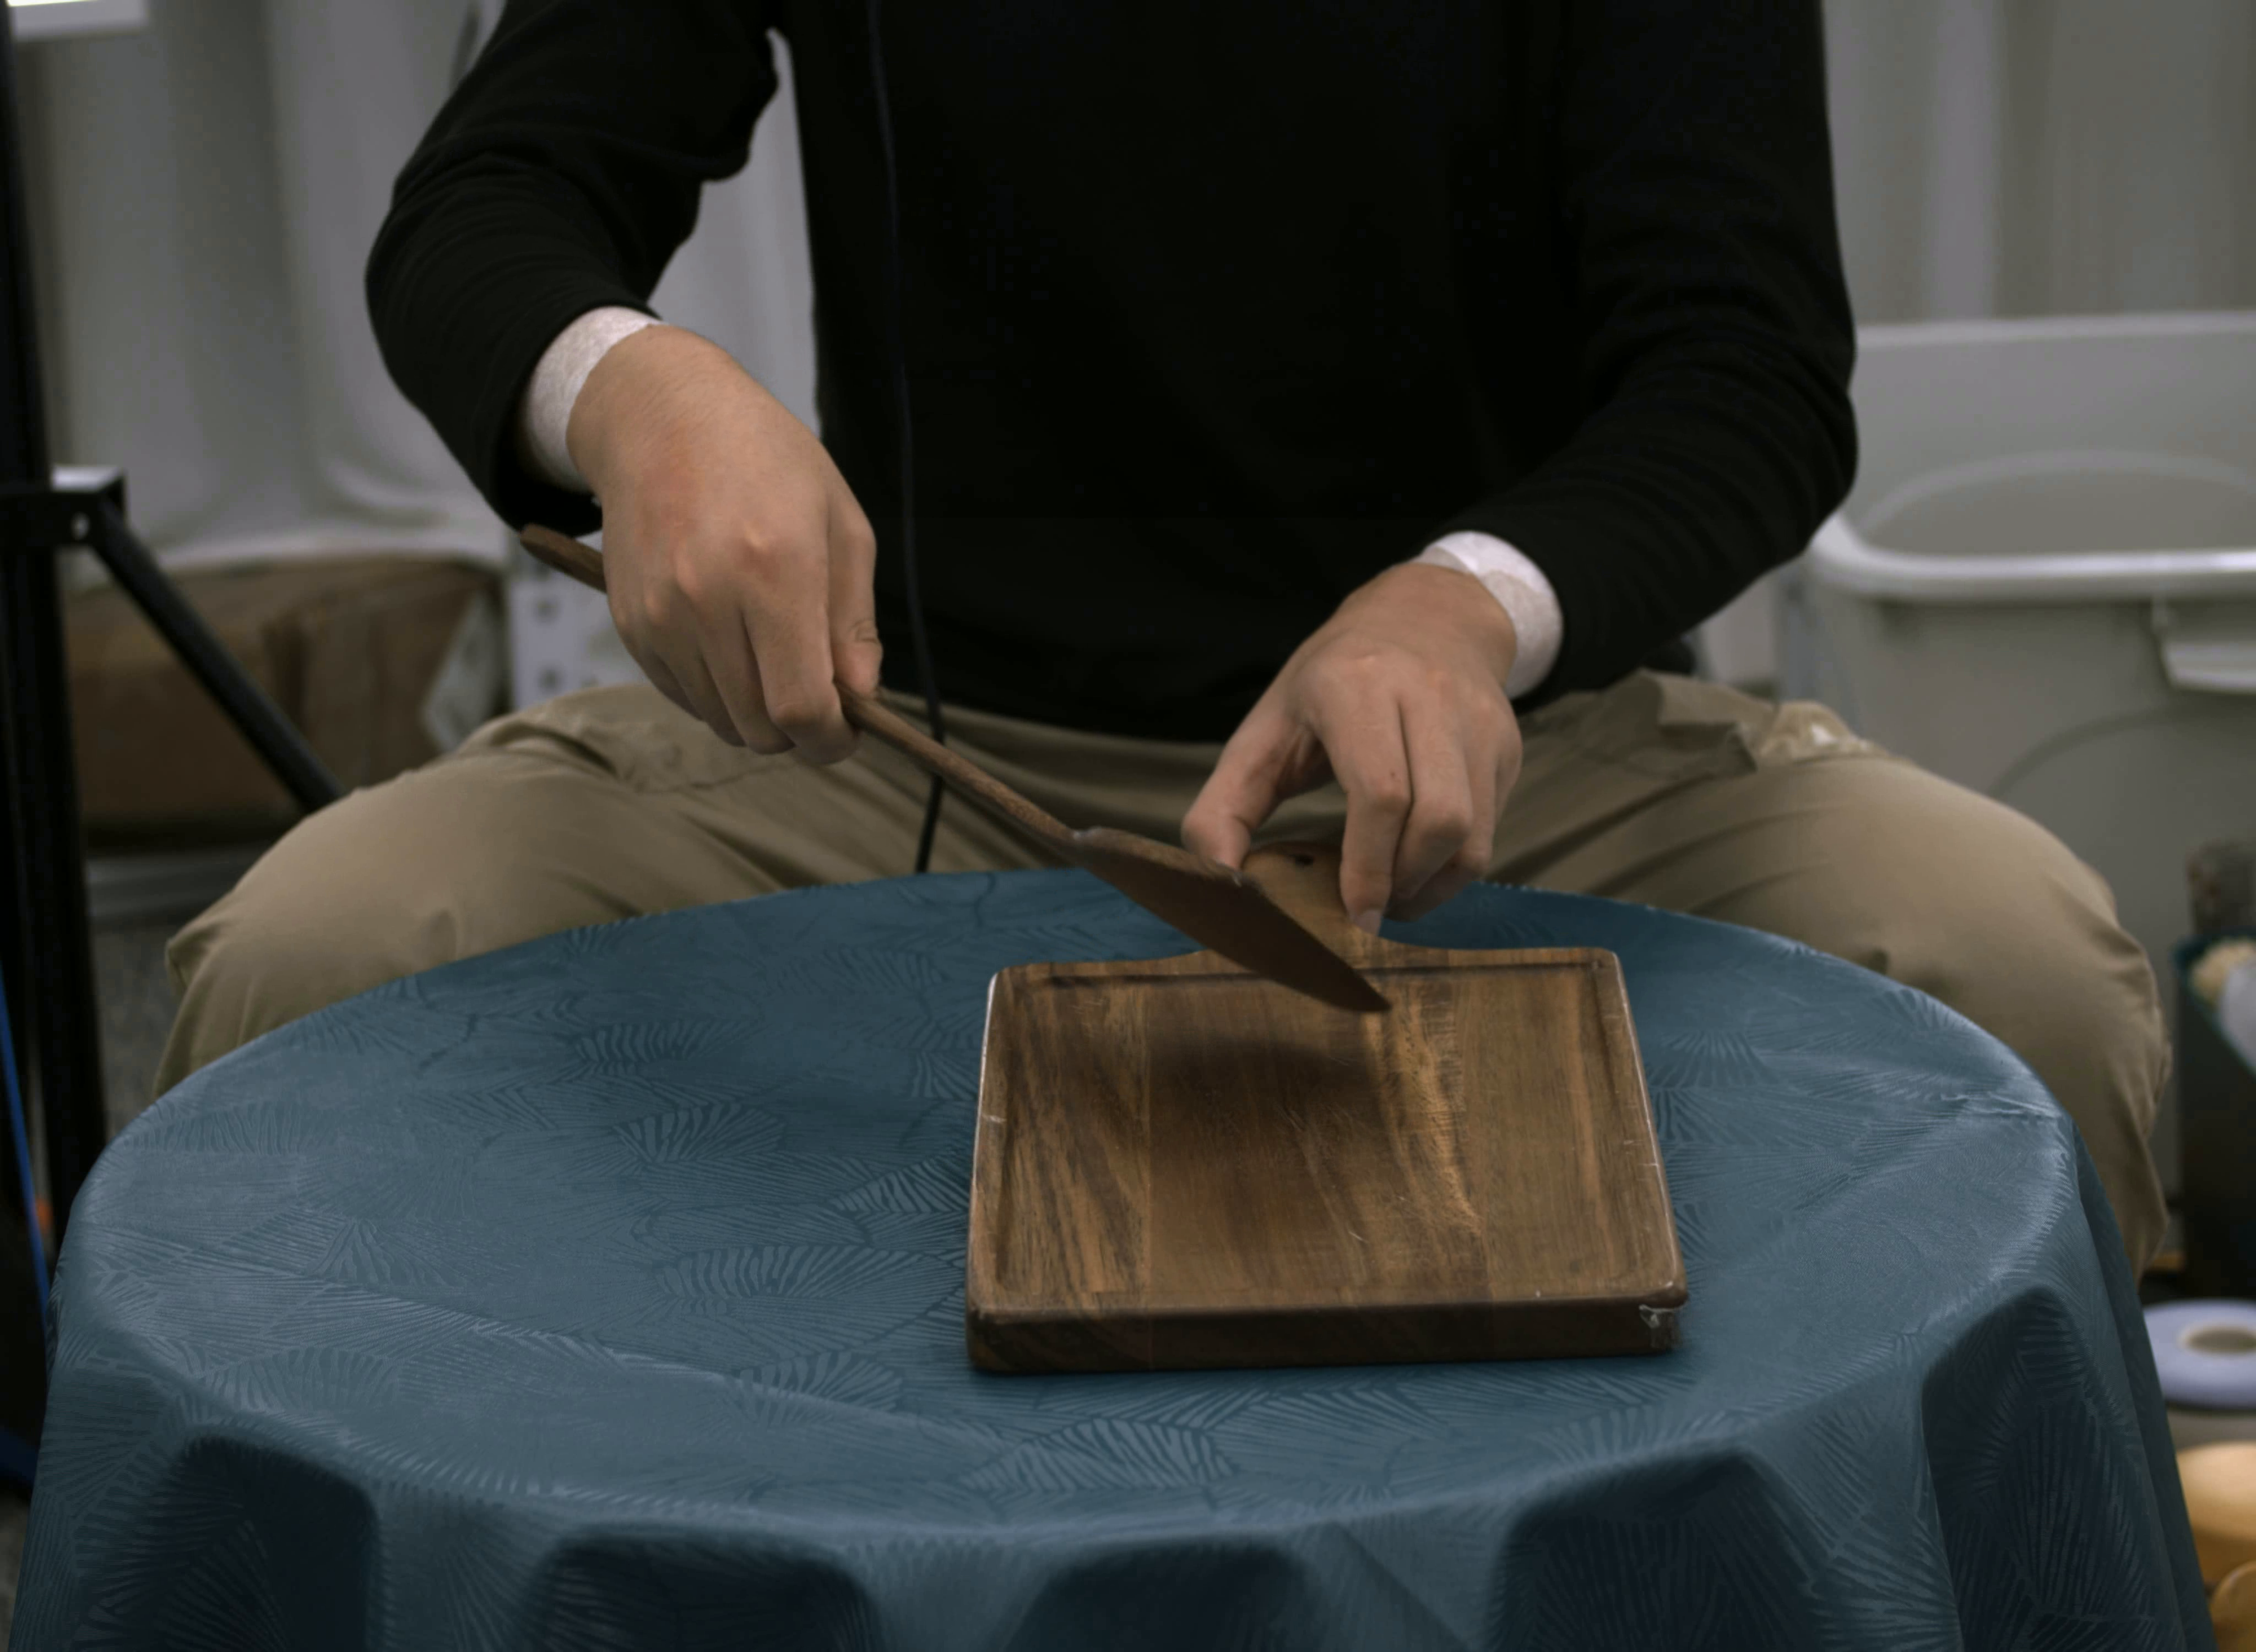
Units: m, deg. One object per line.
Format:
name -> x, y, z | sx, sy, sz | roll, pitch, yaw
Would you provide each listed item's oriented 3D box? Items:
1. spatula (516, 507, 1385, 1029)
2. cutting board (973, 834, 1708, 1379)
spatula -> -0.068, -0.028, 1.653 | 0.395, 0.016, 0.094 | 30, -9, 40
cutting board -> 0.055, 0.075, 1.575 | 0.200, 0.023, 0.354 | -2, 21, 1
